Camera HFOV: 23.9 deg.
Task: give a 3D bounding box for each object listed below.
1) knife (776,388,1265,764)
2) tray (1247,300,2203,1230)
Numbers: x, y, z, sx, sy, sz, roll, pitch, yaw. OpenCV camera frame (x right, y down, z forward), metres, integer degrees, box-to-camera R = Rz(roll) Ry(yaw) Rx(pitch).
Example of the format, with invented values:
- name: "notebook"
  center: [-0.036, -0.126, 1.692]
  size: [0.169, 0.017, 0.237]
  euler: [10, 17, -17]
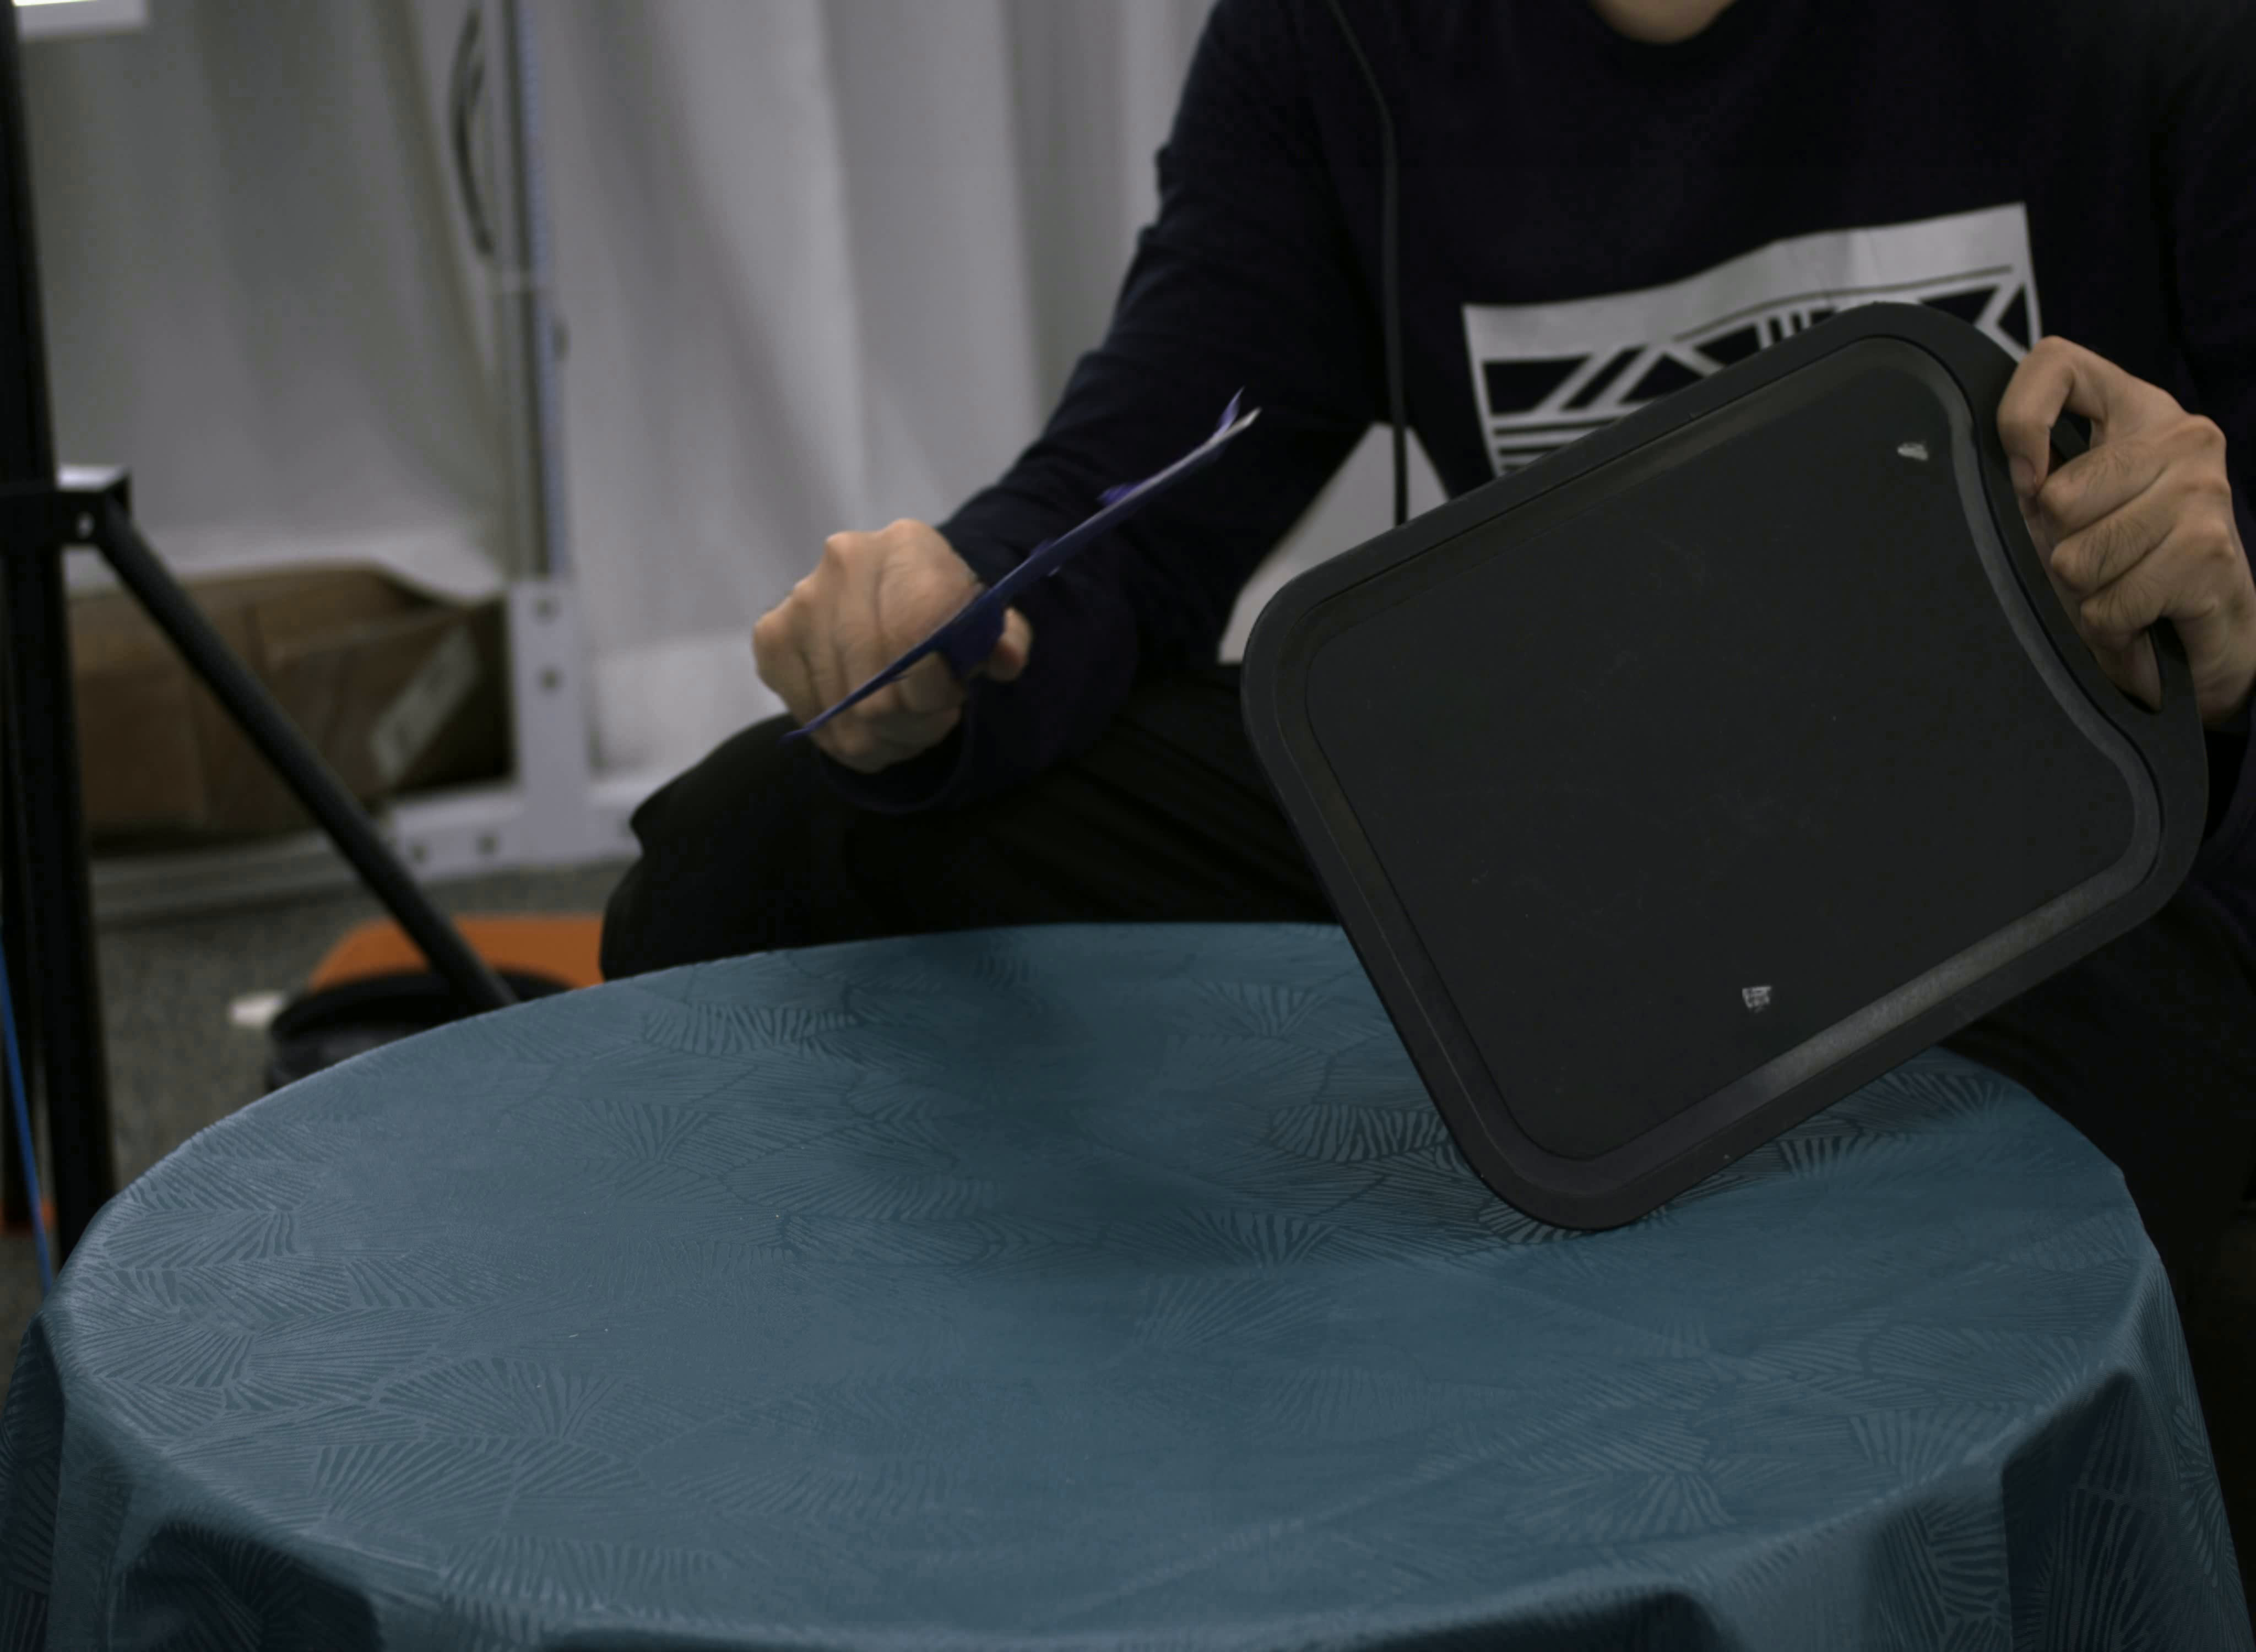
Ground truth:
- name: "knife"
  center: [-0.060, -0.063, 1.659]
  size: [0.102, 0.032, 0.319]
  euler: [-32, -2, -28]
- name: "tray"
  center: [0.190, -0.027, 1.576]
  size: [0.320, 0.212, 0.010]
  euler: [-25, -3, -28]
